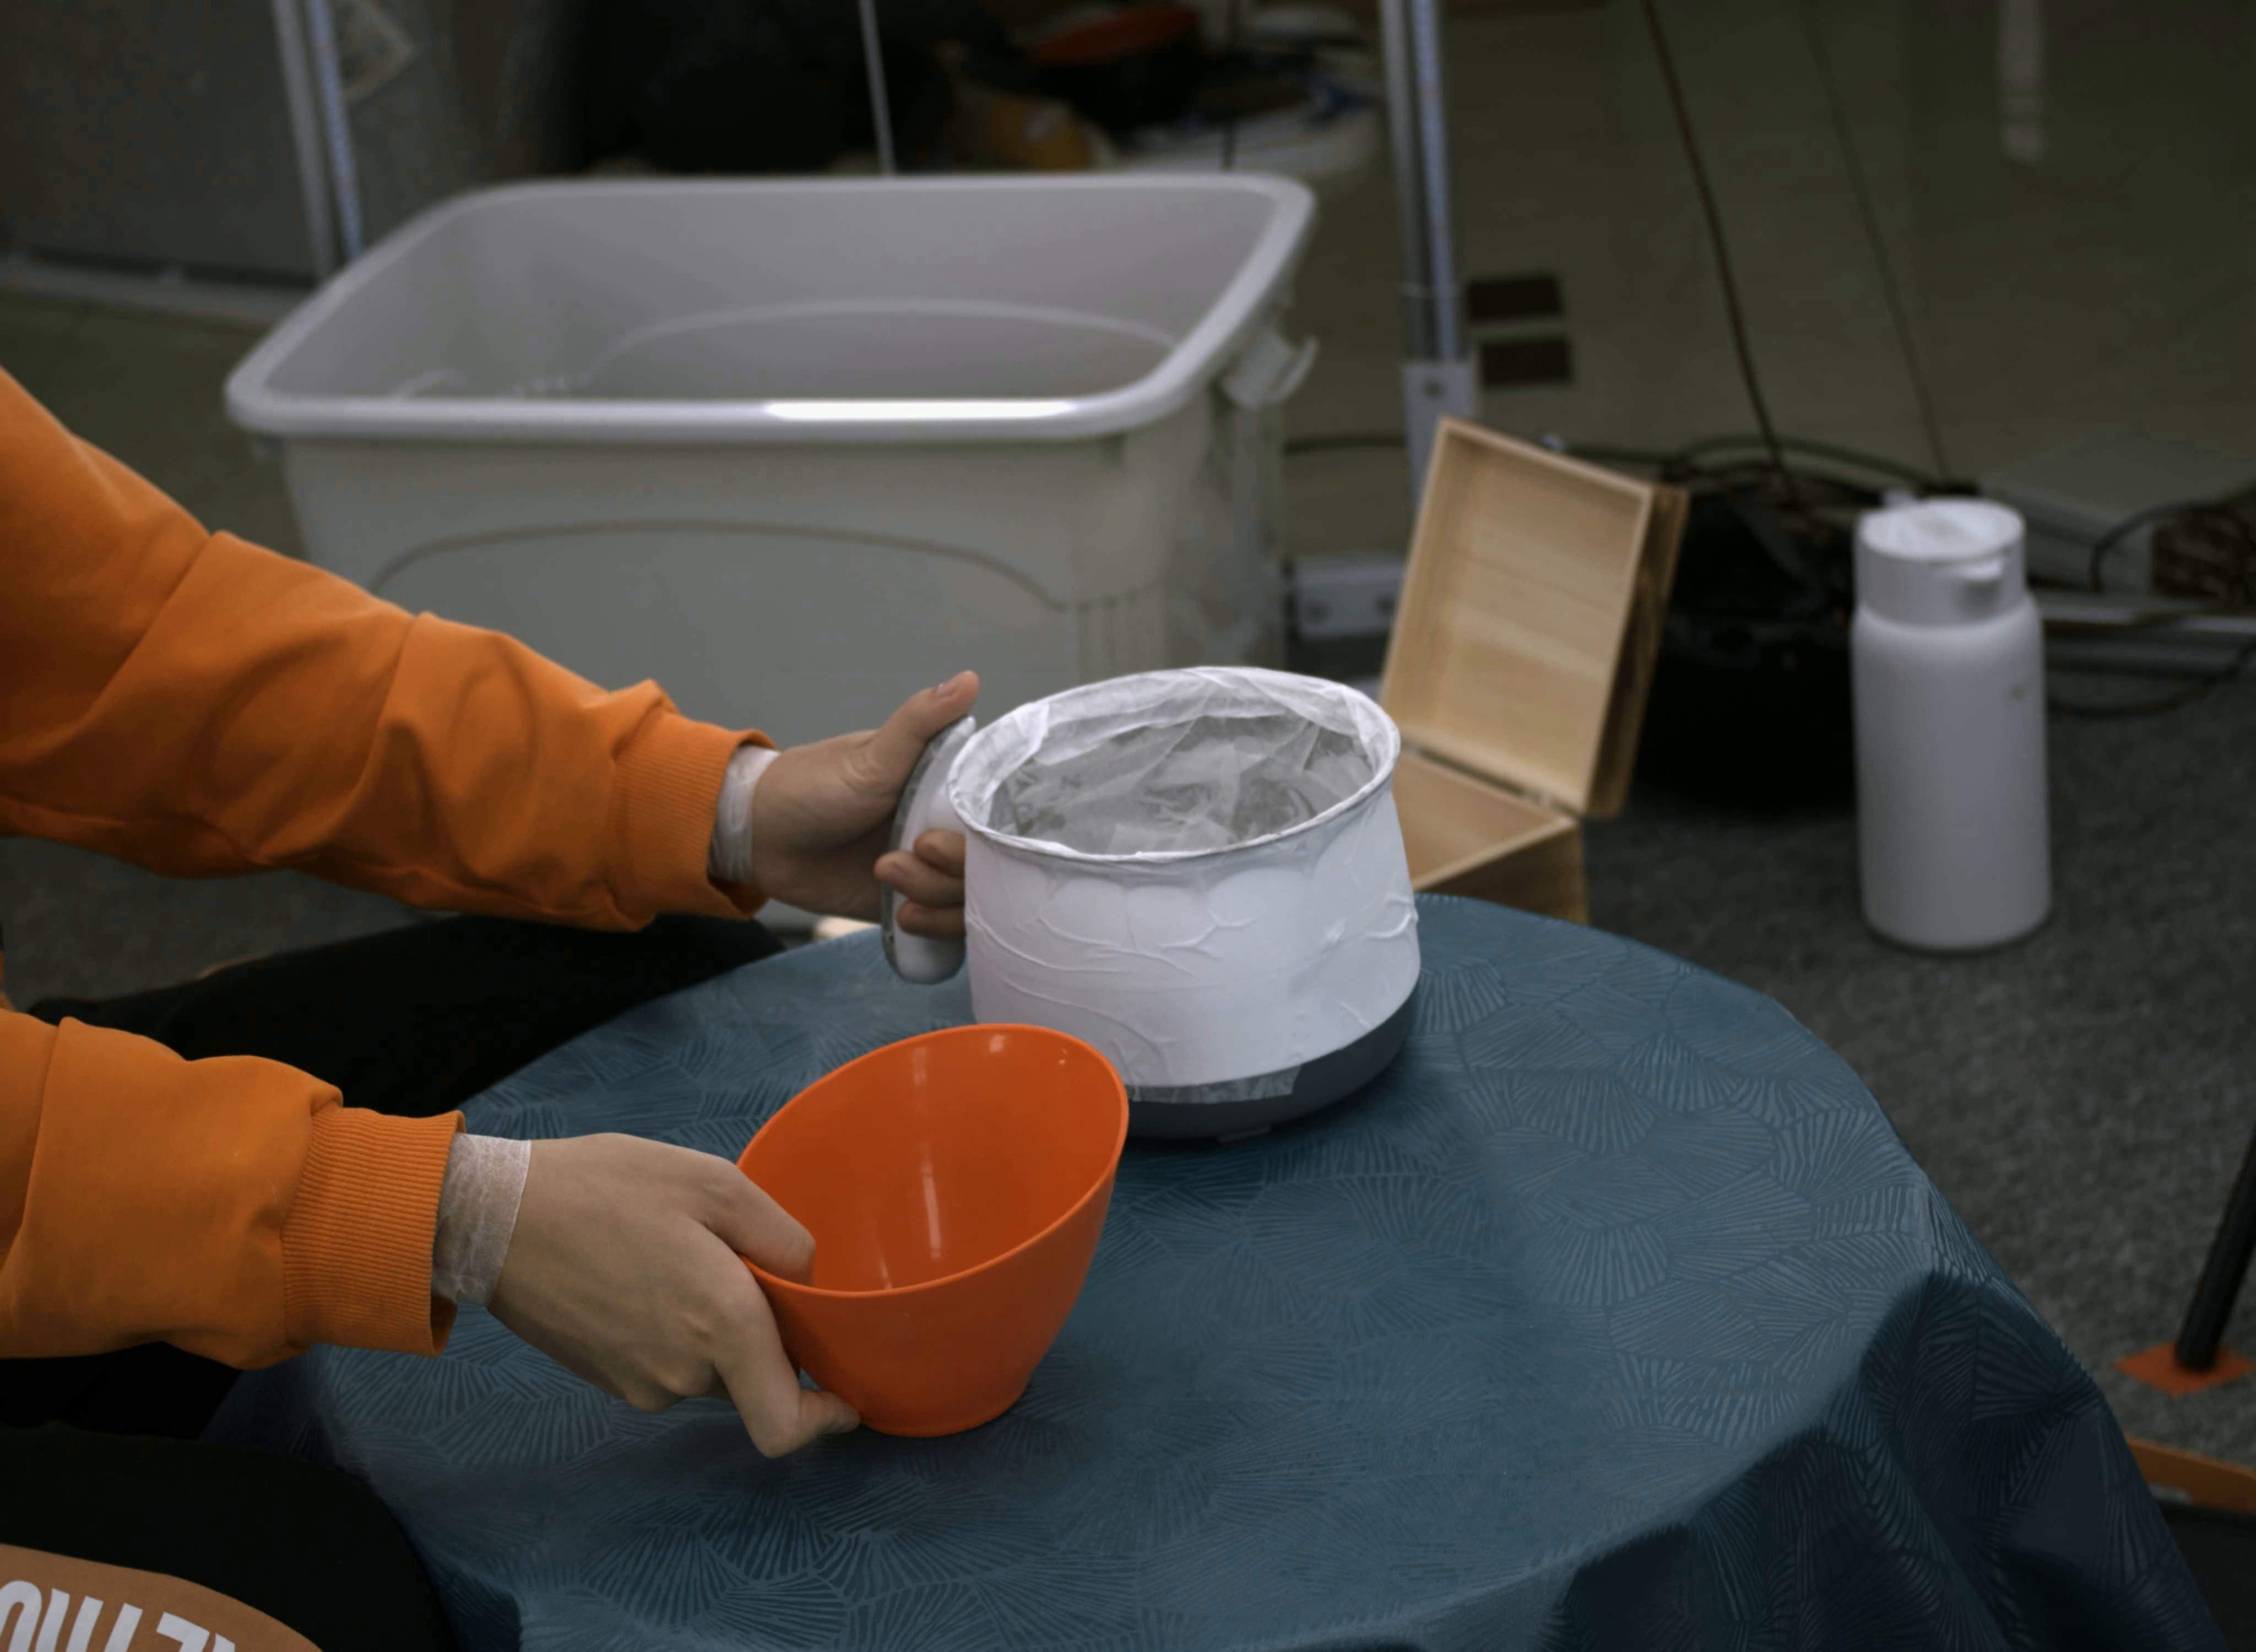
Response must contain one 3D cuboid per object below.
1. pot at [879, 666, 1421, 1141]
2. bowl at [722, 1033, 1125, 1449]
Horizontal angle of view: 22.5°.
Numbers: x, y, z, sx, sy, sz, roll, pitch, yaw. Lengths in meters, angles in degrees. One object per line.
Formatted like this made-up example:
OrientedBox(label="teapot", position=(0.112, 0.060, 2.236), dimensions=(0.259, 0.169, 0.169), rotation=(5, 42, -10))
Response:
OrientedBox(label="pot", position=(0.000, 0.028, 2.219), dimensions=(0.232, 0.139, 0.176), rotation=(9, 29, 30))
OrientedBox(label="bowl", position=(-0.065, 0.155, 2.009), dimensions=(0.148, 0.106, 0.145), rotation=(-8, 29, 5))
